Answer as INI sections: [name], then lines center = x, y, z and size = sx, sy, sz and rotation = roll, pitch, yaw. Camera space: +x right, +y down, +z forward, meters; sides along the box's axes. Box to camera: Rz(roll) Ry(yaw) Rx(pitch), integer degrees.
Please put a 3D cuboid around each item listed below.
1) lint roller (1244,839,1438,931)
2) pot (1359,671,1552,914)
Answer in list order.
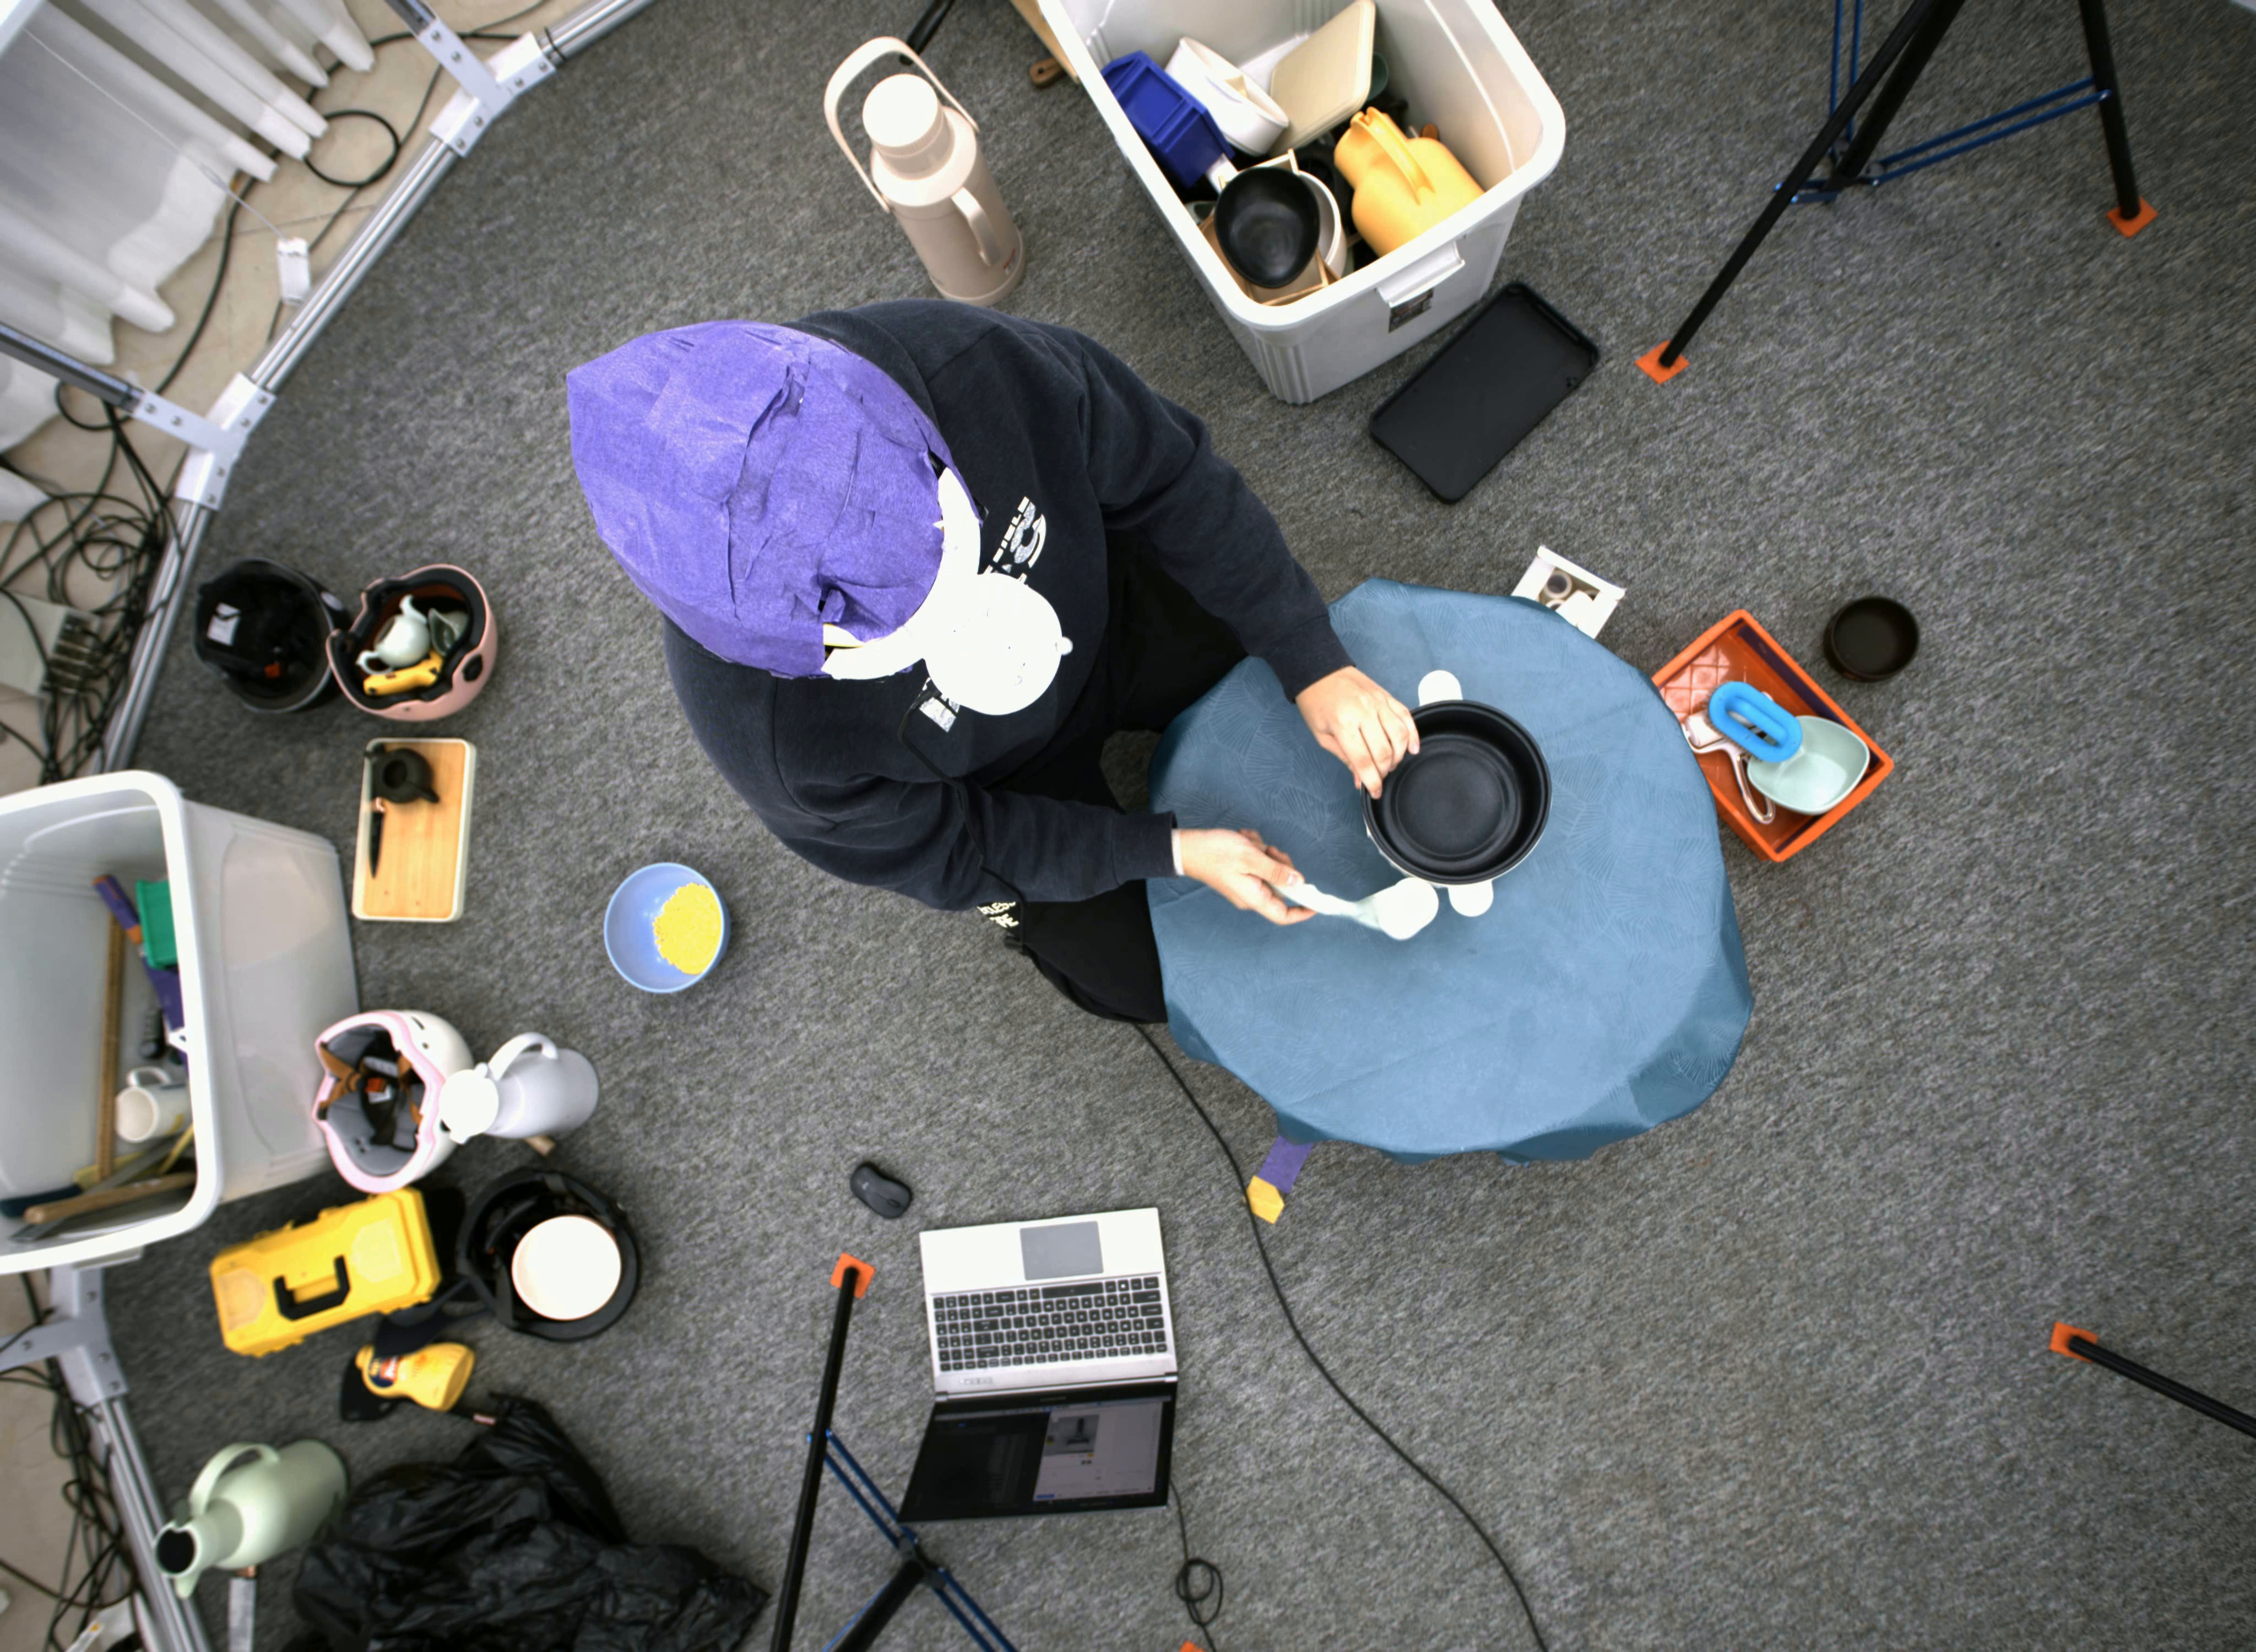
[lint roller]
center = 0.208, 0.058, 1.376
size = 0.198, 0.117, 0.048
rotation = 15, 87, 6
[pot]
center = 0.331, -0.031, 1.385
size = 0.192, 0.142, 0.239
rotation = -10, 85, 13
